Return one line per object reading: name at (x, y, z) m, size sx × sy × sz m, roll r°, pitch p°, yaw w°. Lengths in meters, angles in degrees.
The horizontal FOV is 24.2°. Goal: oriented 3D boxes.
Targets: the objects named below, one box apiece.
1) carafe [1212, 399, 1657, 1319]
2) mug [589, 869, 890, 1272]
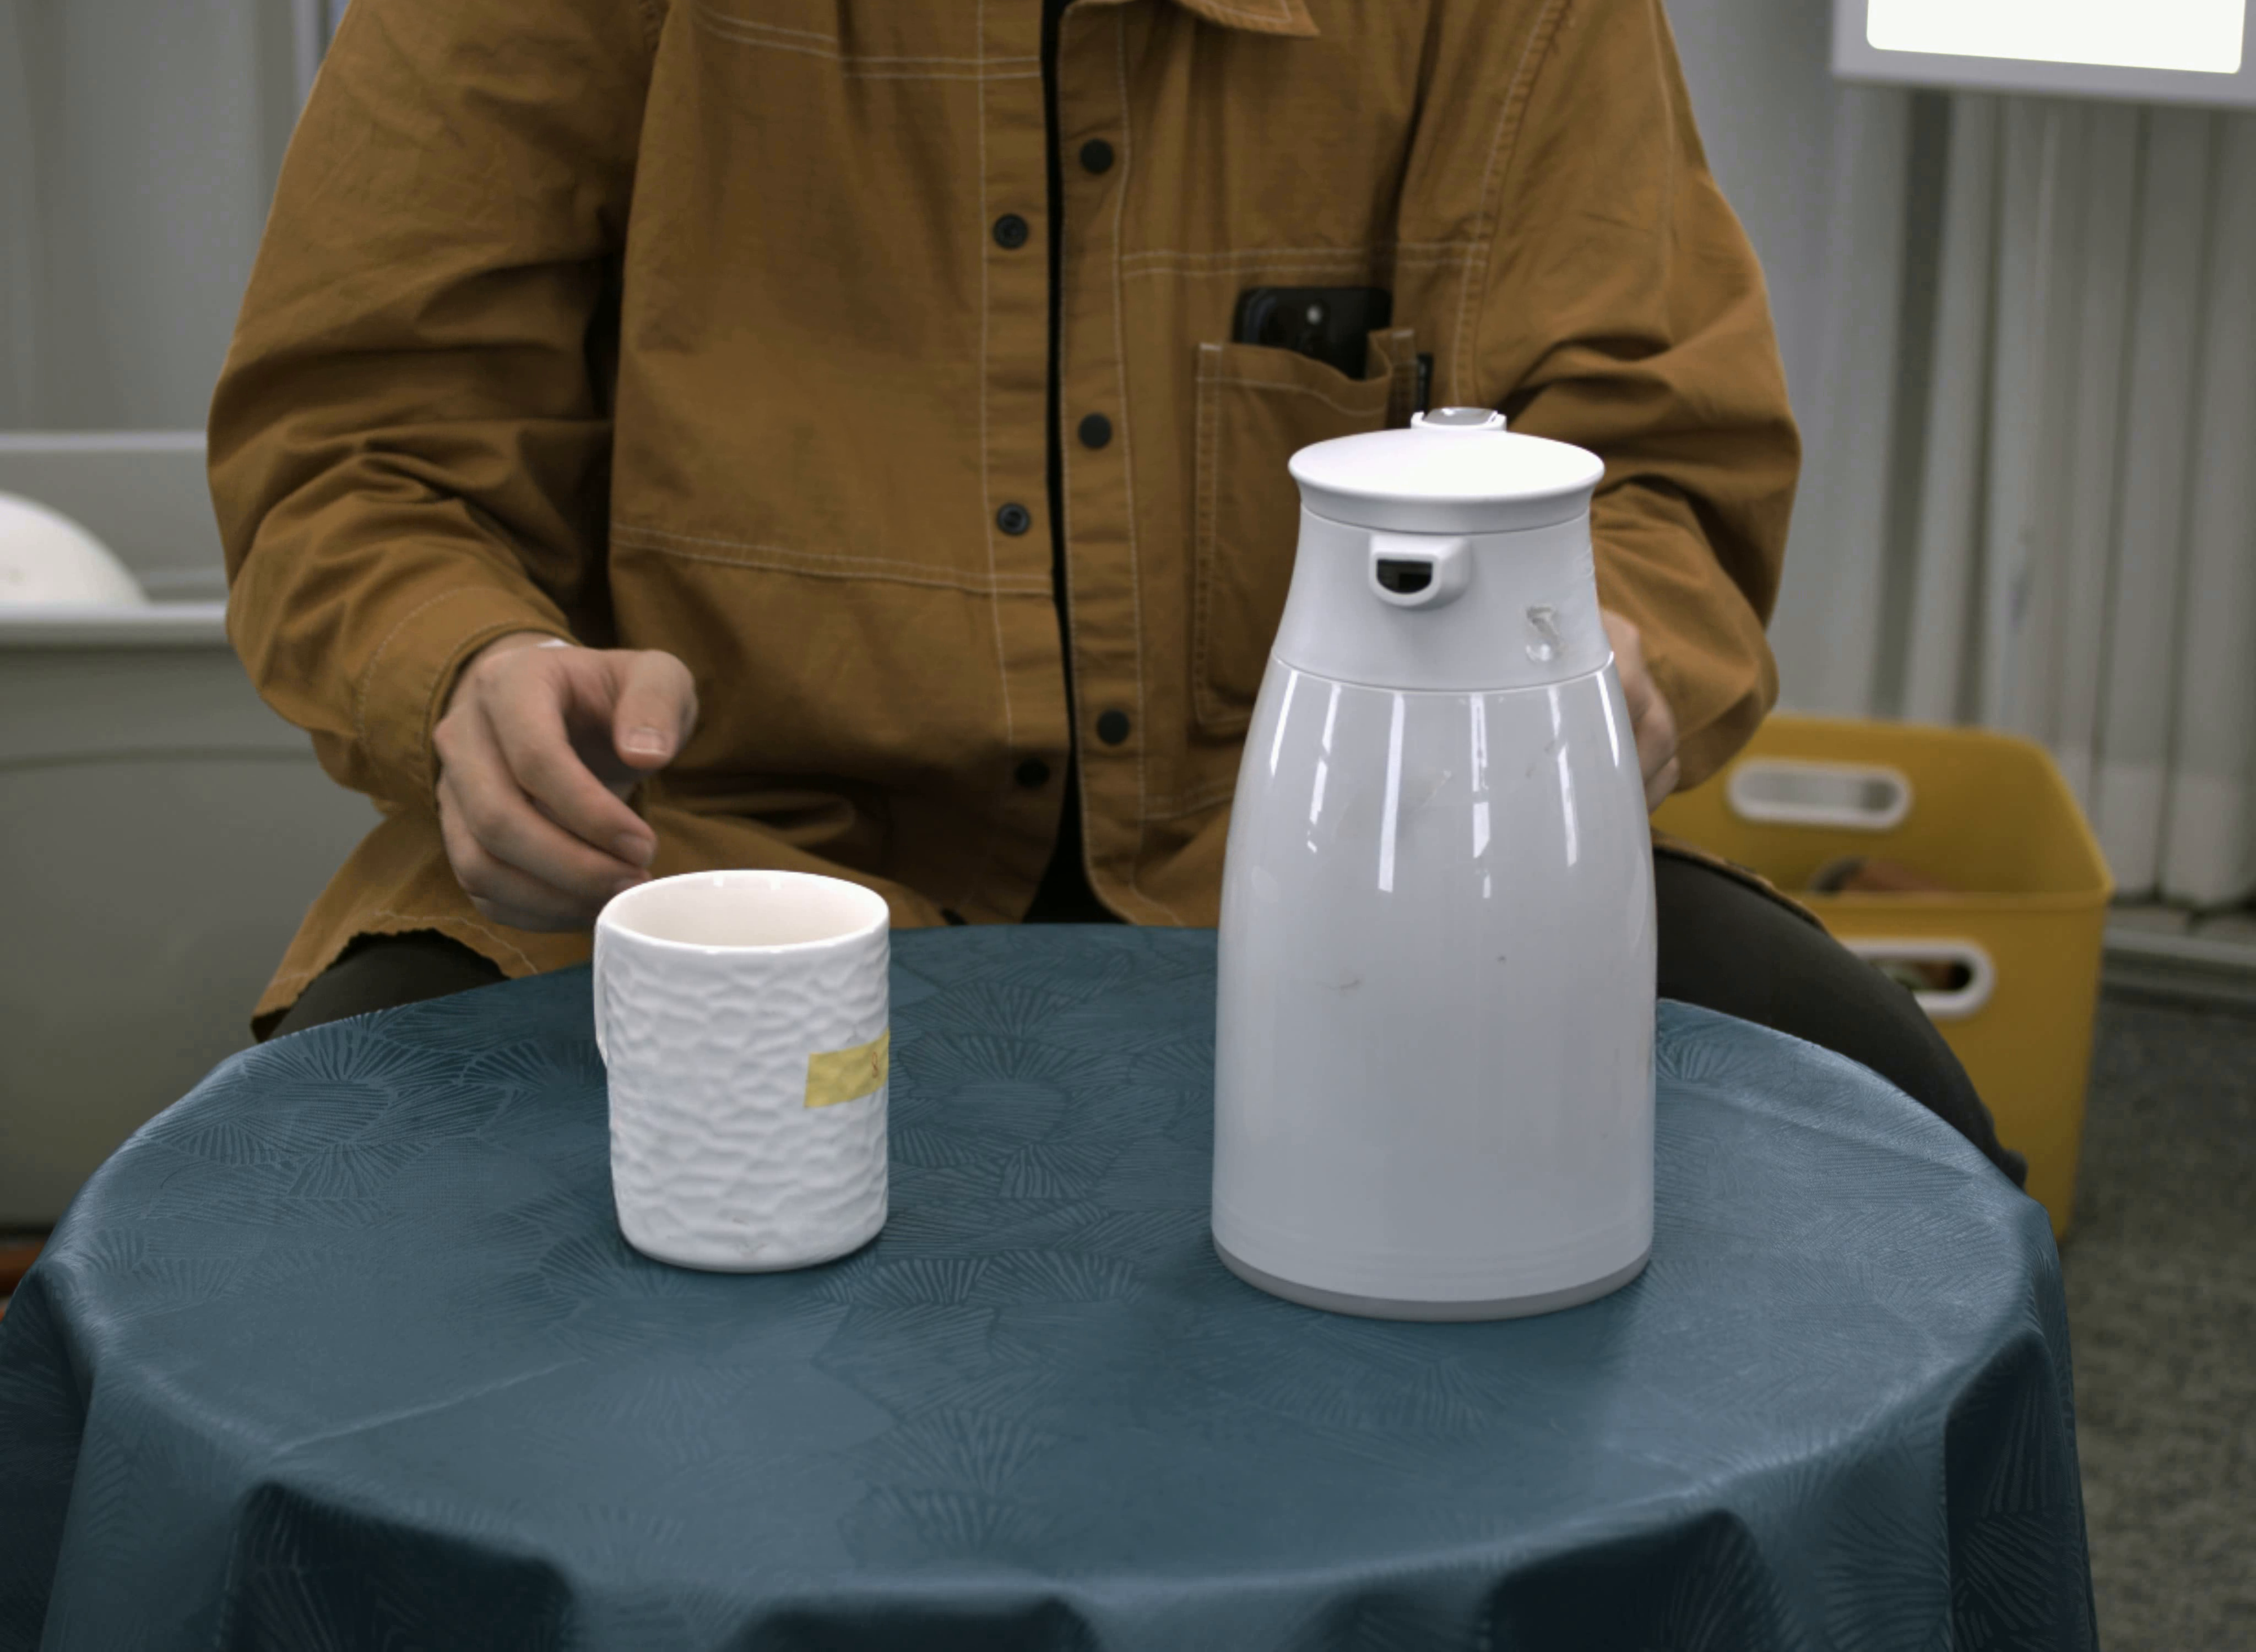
carafe at (0.094, 0.001, 1.561) m, size 0.131 × 0.250 × 0.167 m, roll 3°, pitch 16°, yaw 11°
mug at (-0.124, 0.069, 1.582) m, size 0.085 × 0.103 × 0.116 m, roll -12°, pitch 19°, yaw -39°
